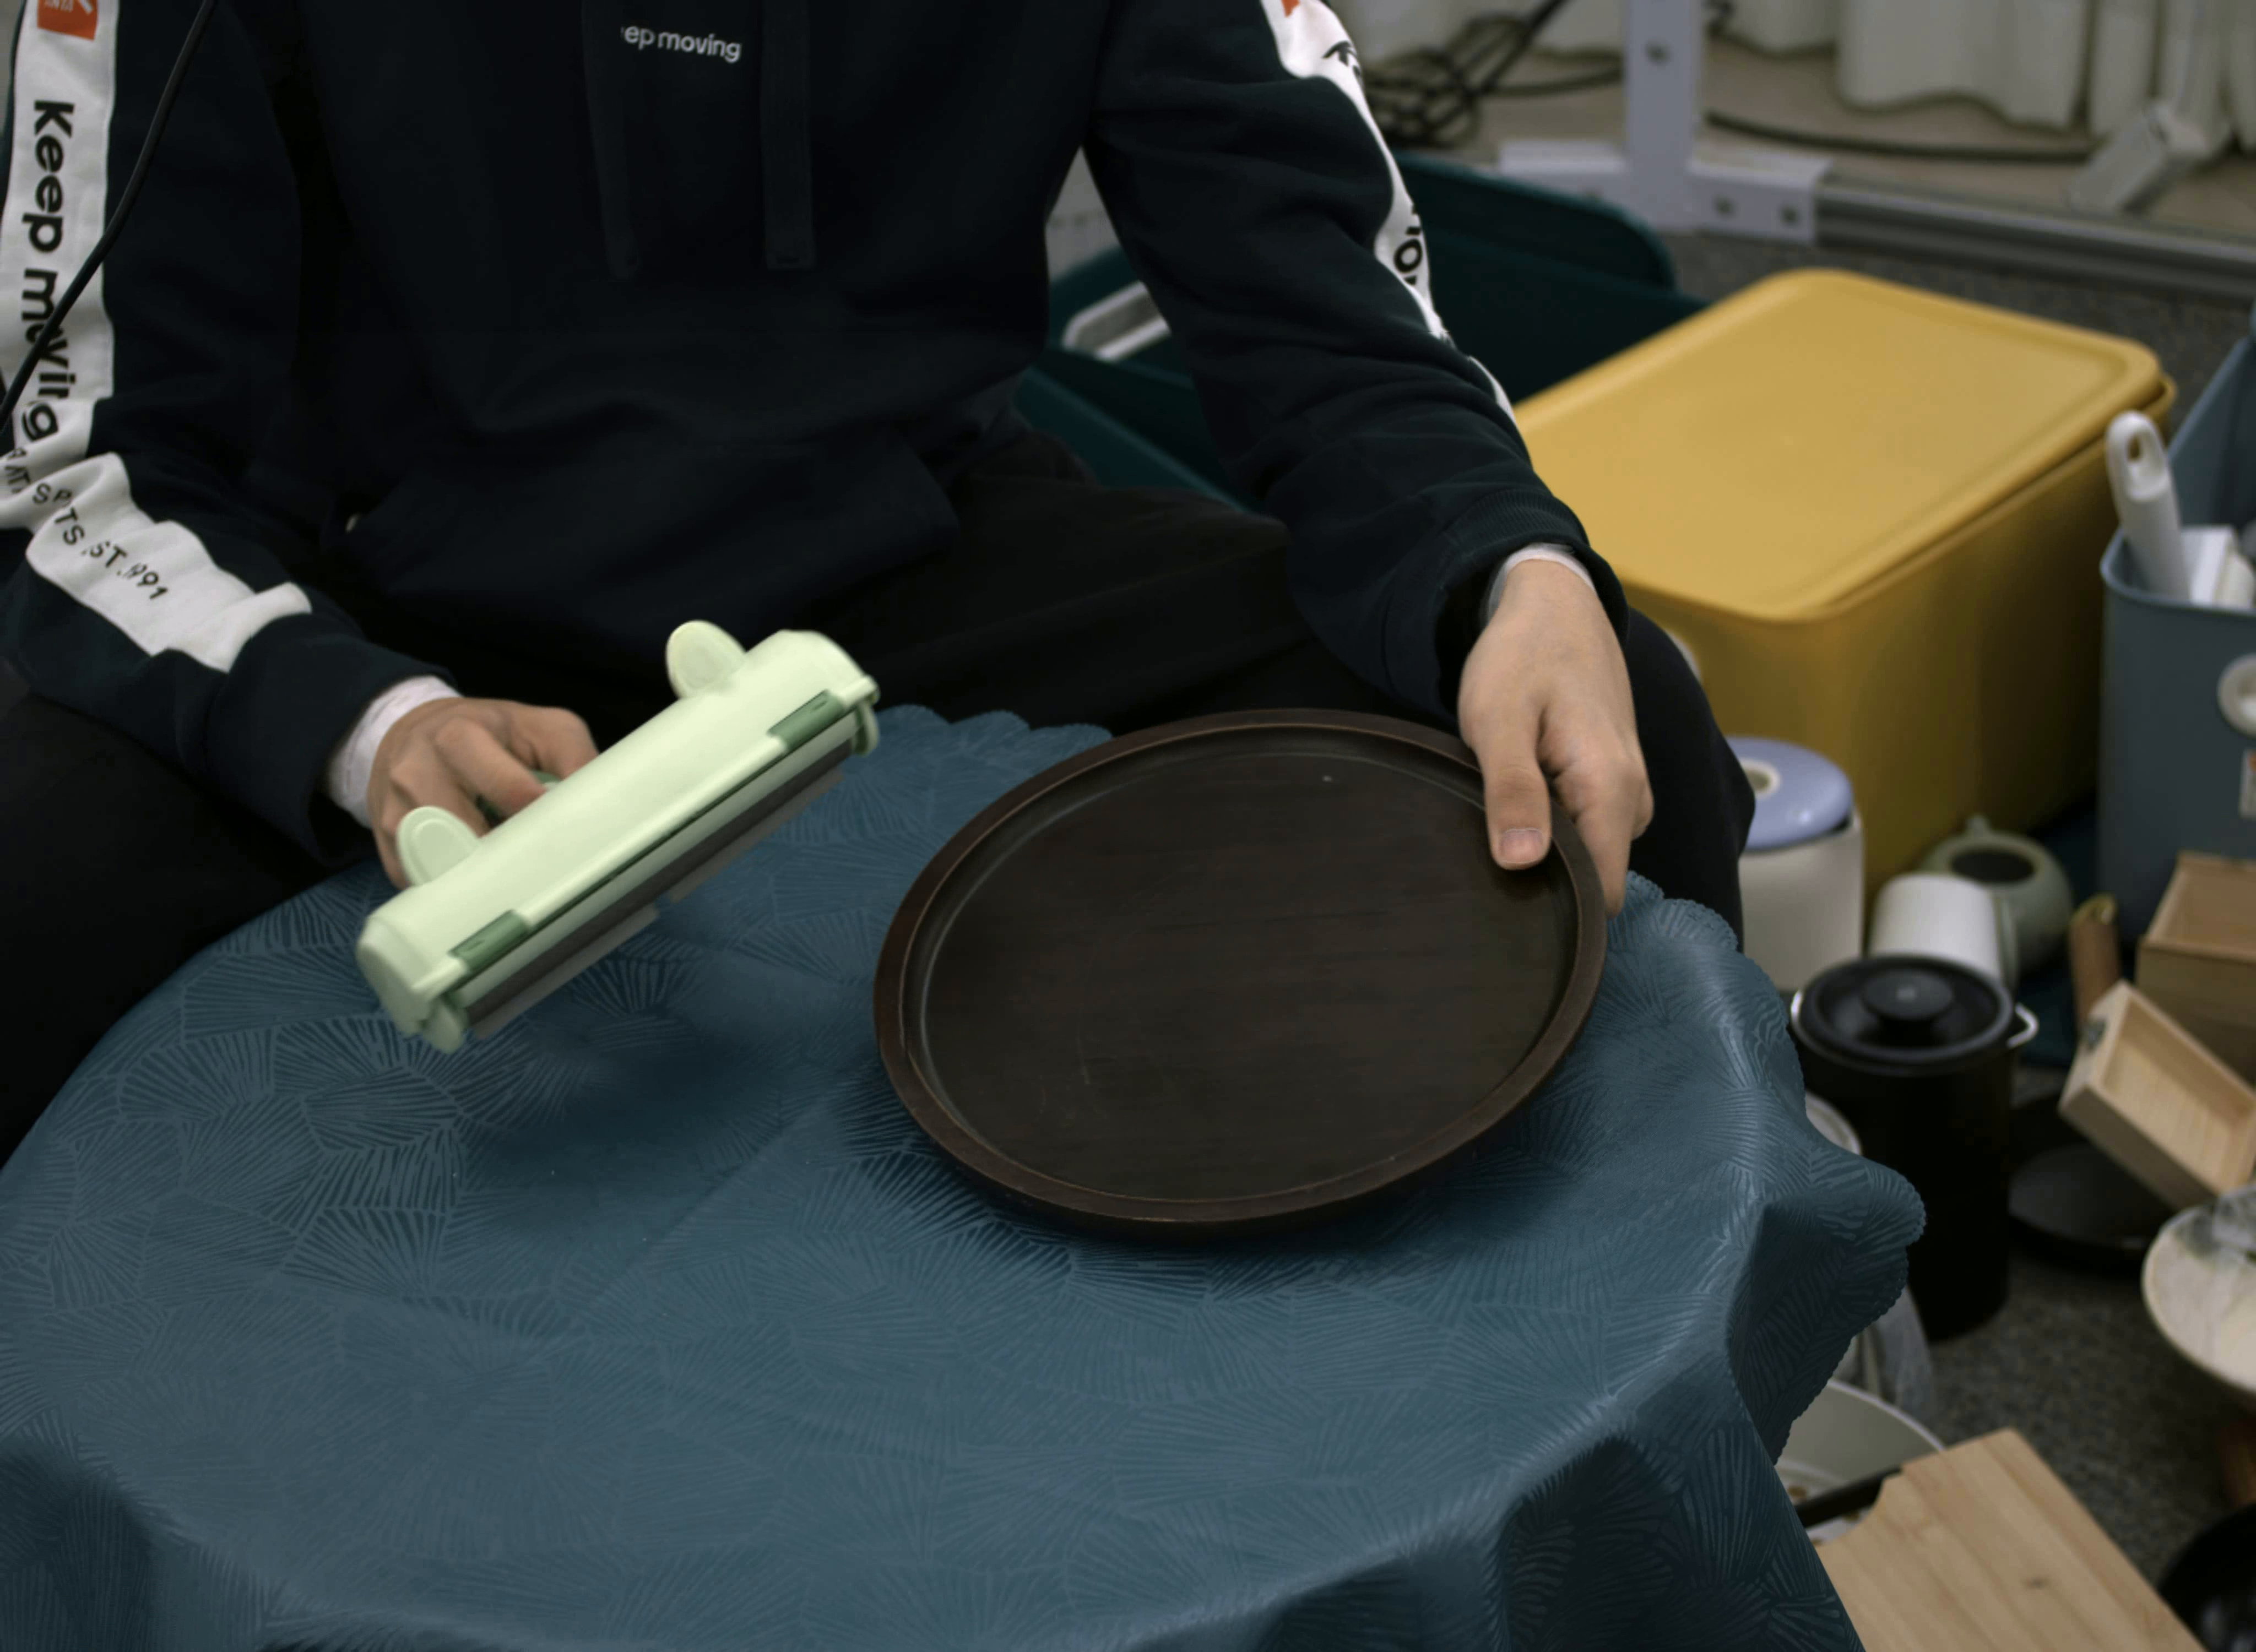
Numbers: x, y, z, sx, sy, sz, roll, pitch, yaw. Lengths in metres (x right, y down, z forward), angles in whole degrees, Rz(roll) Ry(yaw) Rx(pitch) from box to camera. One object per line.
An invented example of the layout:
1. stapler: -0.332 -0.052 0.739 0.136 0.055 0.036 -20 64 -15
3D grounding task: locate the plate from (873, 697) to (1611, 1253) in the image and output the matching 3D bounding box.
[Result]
1. plate: 0.039 0.051 1.906 0.253 0.028 0.260 -7 41 6

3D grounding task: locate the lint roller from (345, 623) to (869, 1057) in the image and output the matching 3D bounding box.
1. lint roller: -0.207 -0.012 1.955 0.200 0.081 0.183 -36 28 -21
